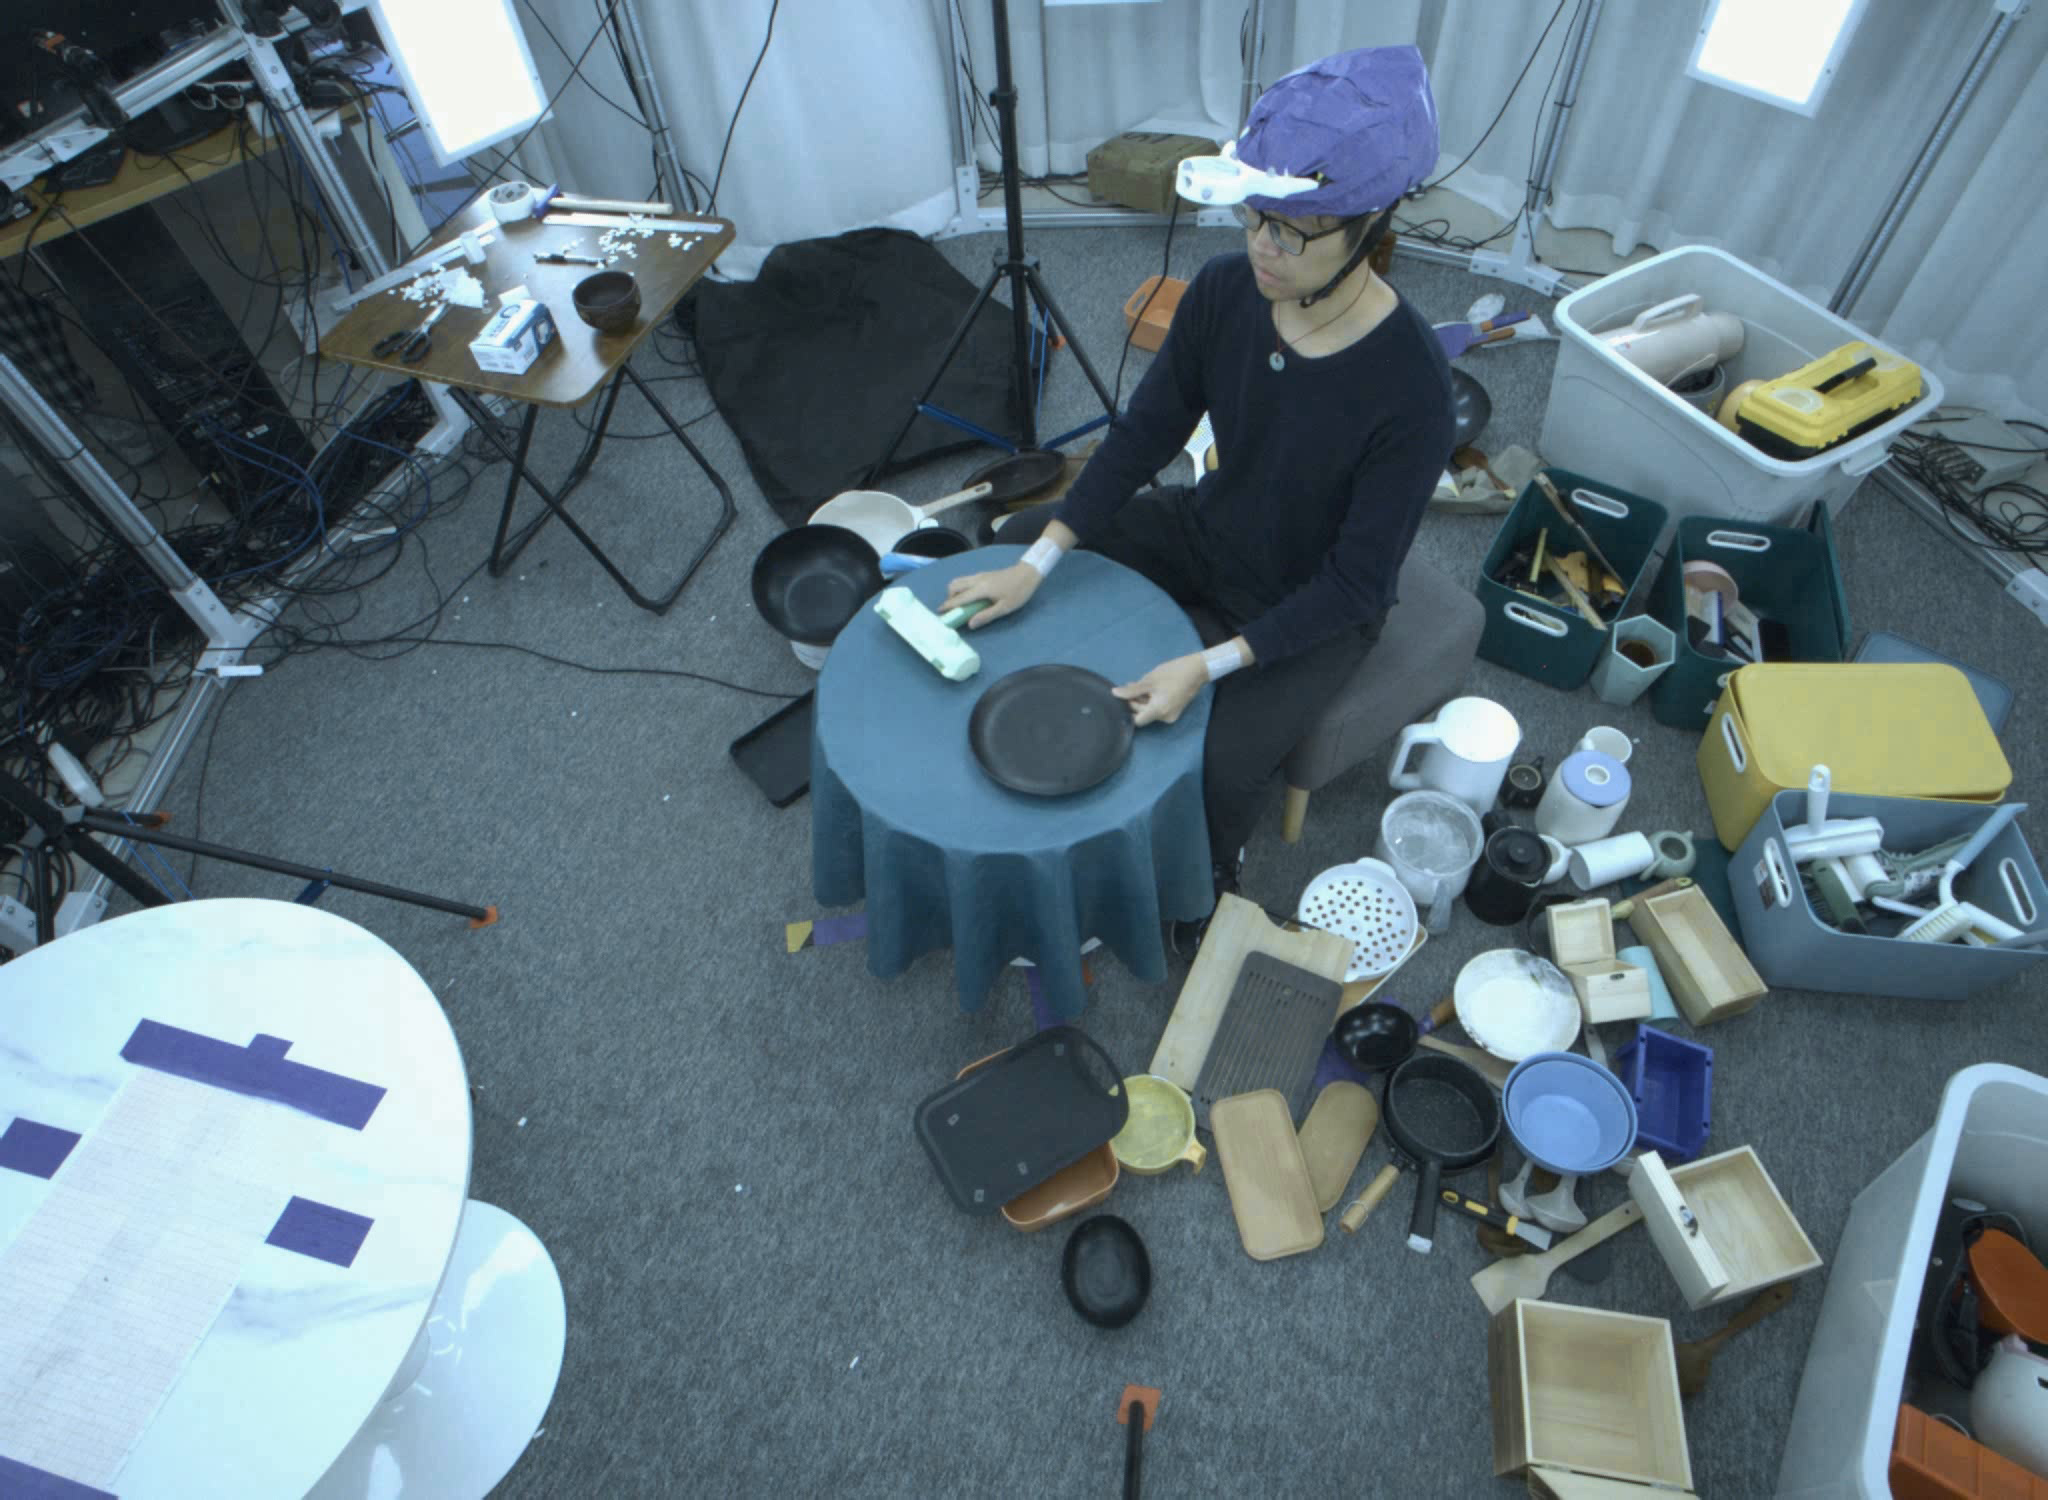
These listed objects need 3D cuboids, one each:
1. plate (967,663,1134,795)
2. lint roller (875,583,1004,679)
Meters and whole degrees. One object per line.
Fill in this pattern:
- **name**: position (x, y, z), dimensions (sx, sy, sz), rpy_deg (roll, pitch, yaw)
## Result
- **plate**: position (0.039, -0.028, 1.788), dimensions (0.244, 0.024, 0.242), rpy_deg (-1, 53, 2)
- **lint roller**: position (-0.106, -0.219, 1.893), dimensions (0.184, 0.083, 0.195), rpy_deg (-40, 63, -16)
